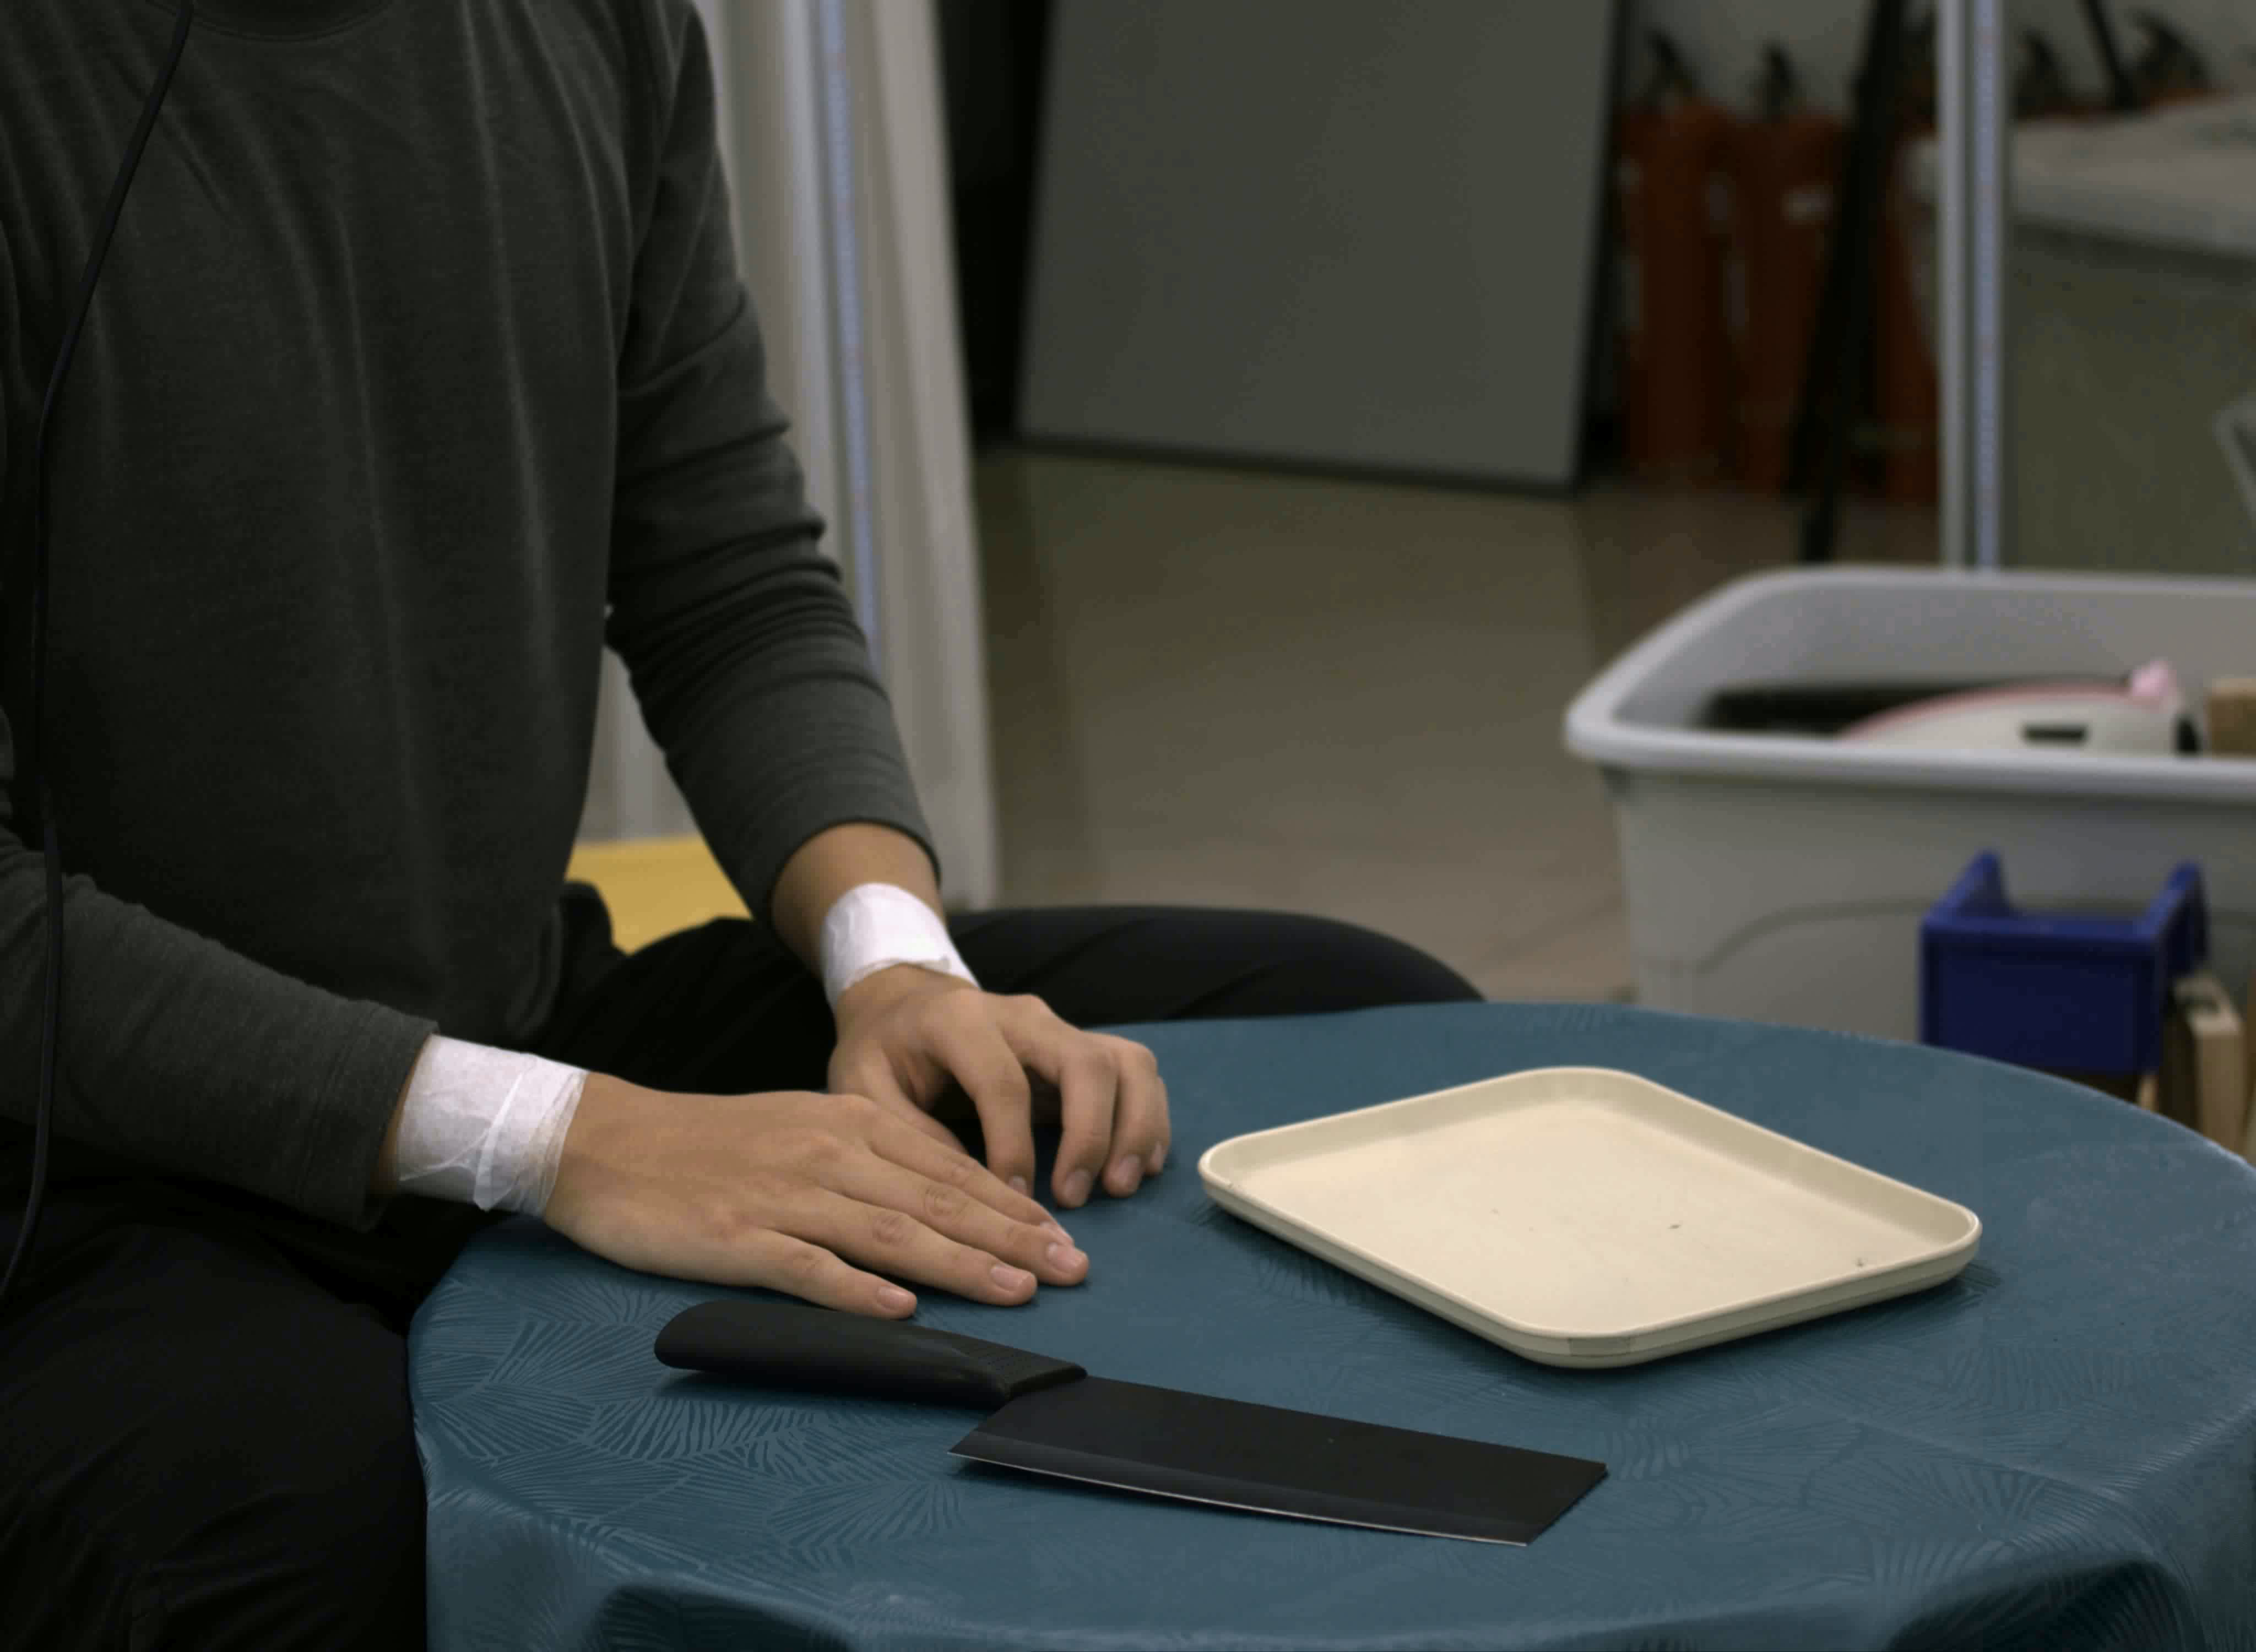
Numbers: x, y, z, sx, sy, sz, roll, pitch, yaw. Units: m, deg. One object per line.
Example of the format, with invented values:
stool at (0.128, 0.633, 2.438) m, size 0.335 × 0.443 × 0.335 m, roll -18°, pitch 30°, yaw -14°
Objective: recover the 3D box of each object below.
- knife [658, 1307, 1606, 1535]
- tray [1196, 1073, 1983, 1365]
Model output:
knife at (-0.008, 0.171, 1.544) m, size 0.304 × 0.021 × 0.079 m, roll 7°, pitch 19°, yaw 33°
tray at (0.142, 0.122, 1.691) m, size 0.167 × 0.017 × 0.242 m, roll -10°, pitch 15°, yaw -27°
